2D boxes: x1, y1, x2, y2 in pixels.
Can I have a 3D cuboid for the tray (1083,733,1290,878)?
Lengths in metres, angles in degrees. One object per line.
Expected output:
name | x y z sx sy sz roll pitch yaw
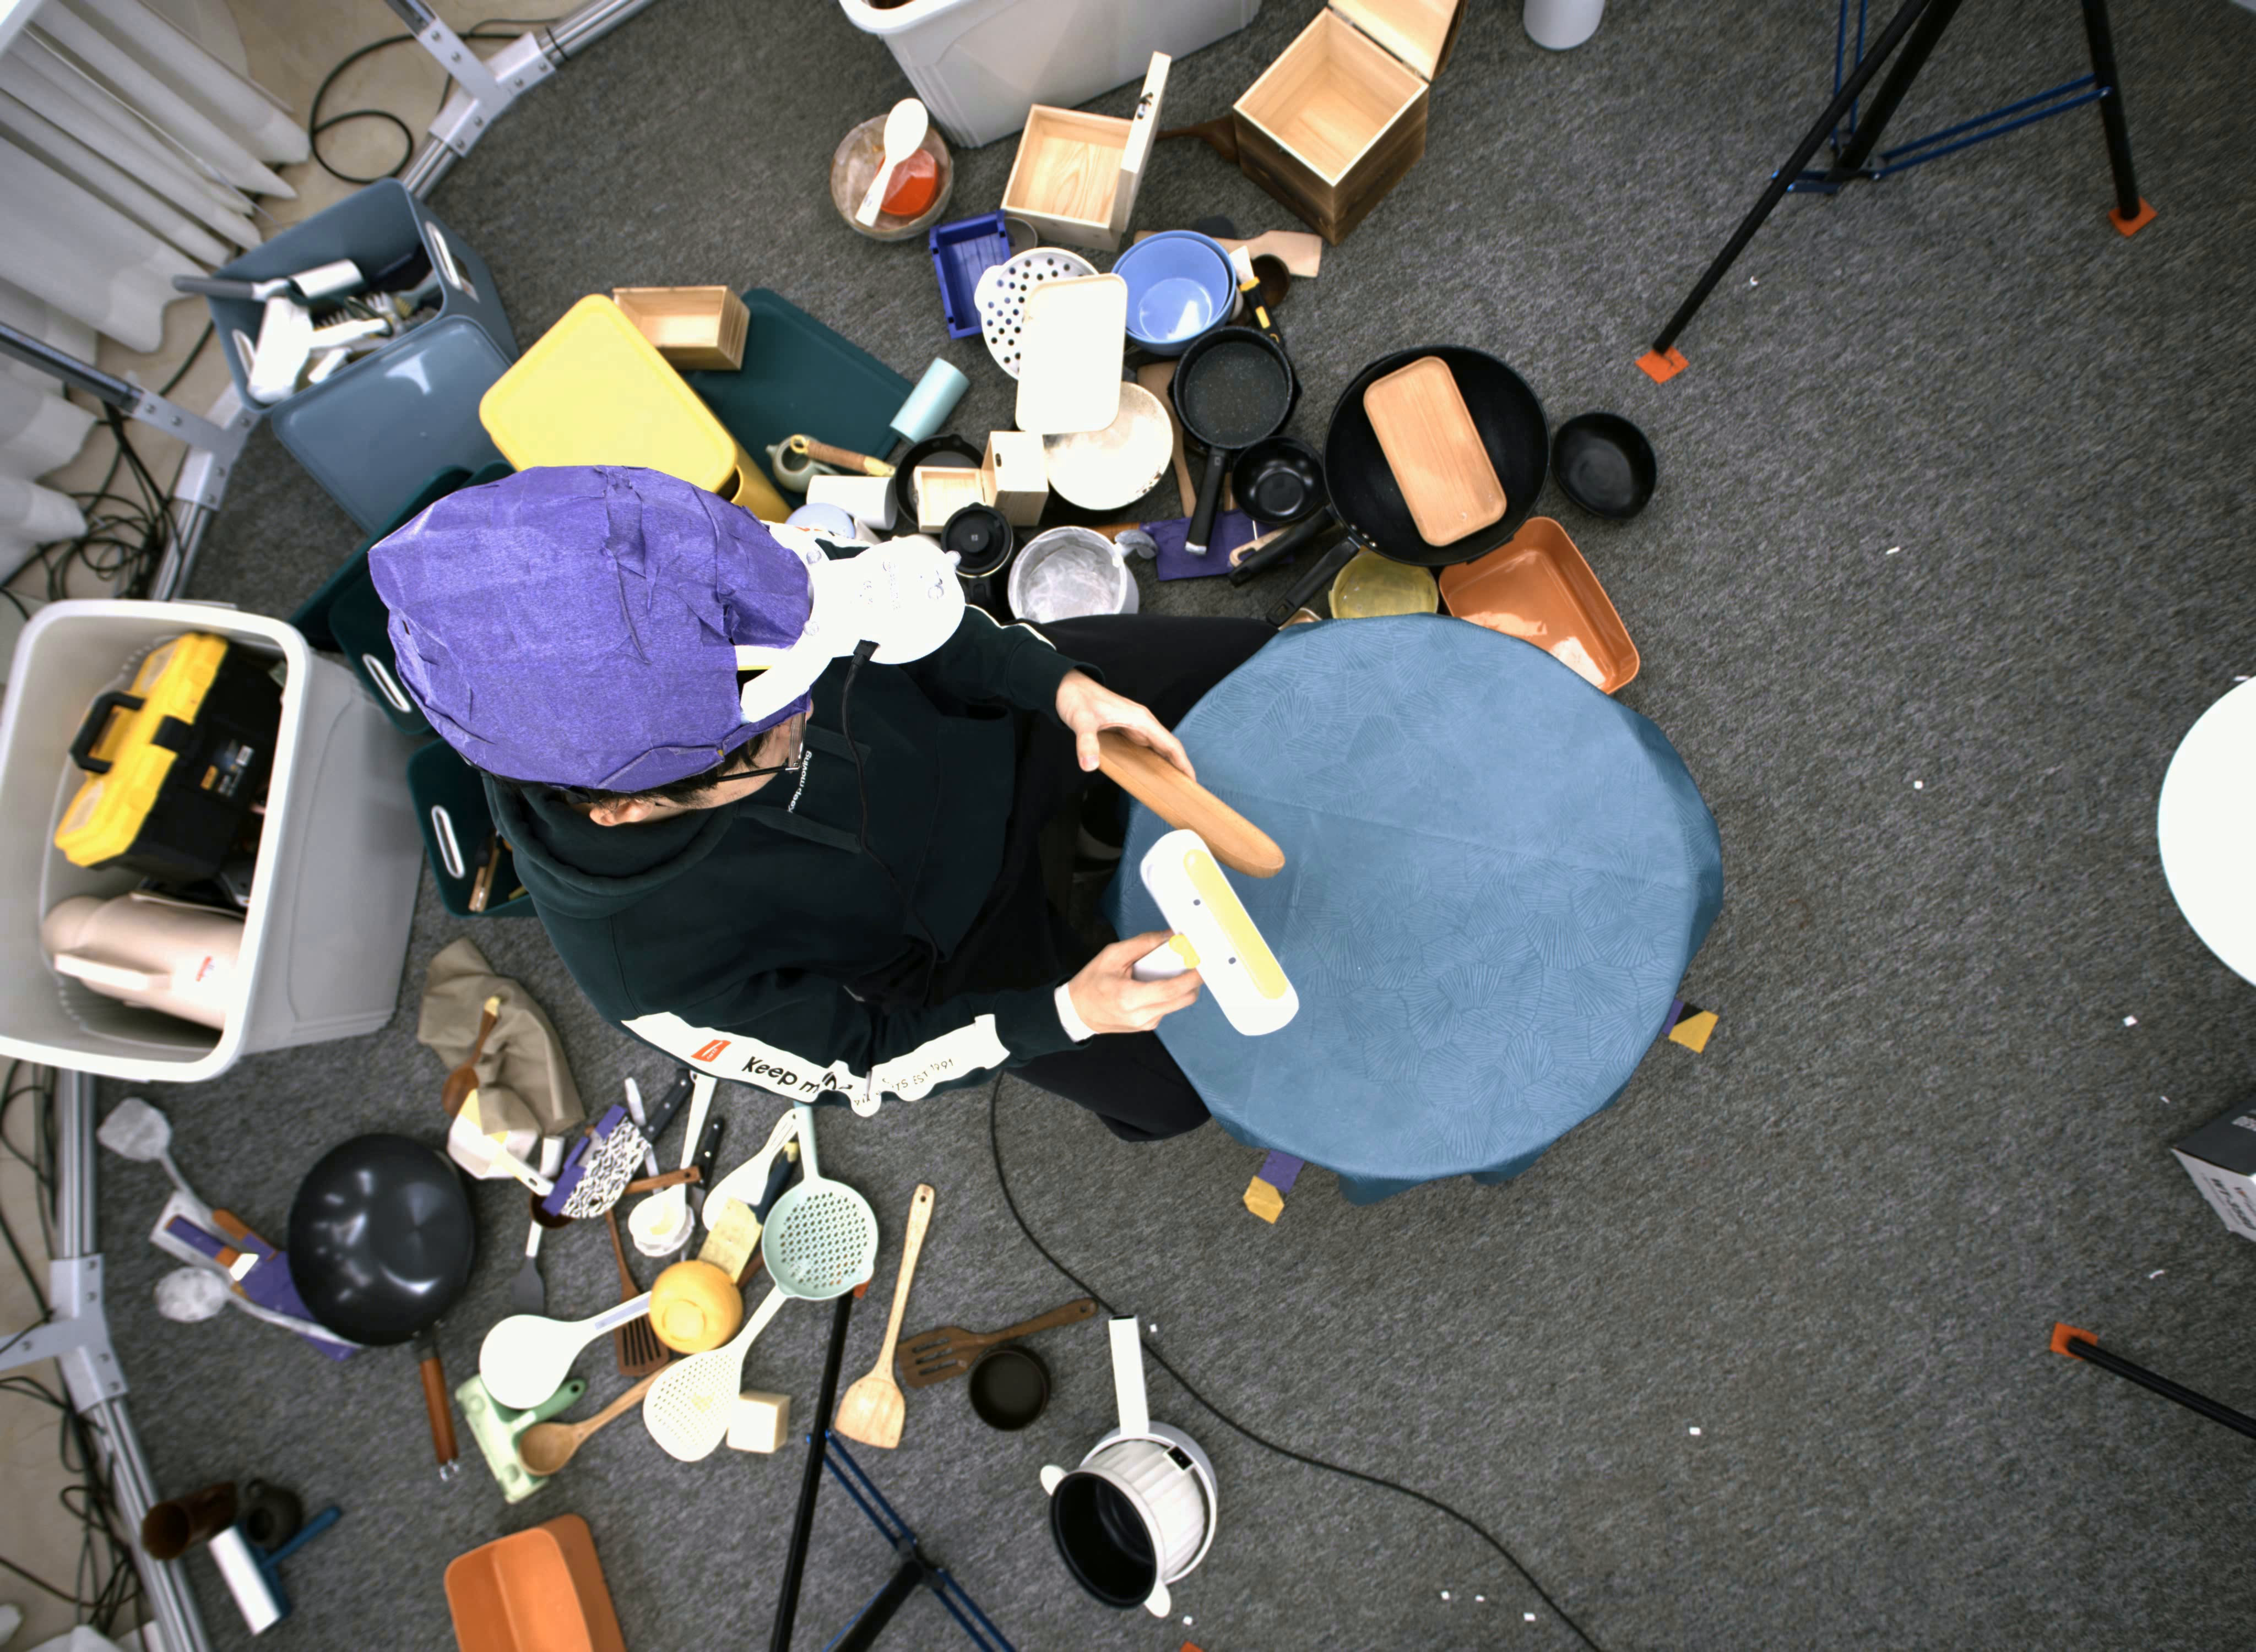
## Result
tray | 0.052 -0.021 1.288 0.229 0.100 0.020 38 112 21

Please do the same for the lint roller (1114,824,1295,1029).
lint roller | 0.048 0.113 1.244 0.073 0.196 0.192 -33 83 -32
